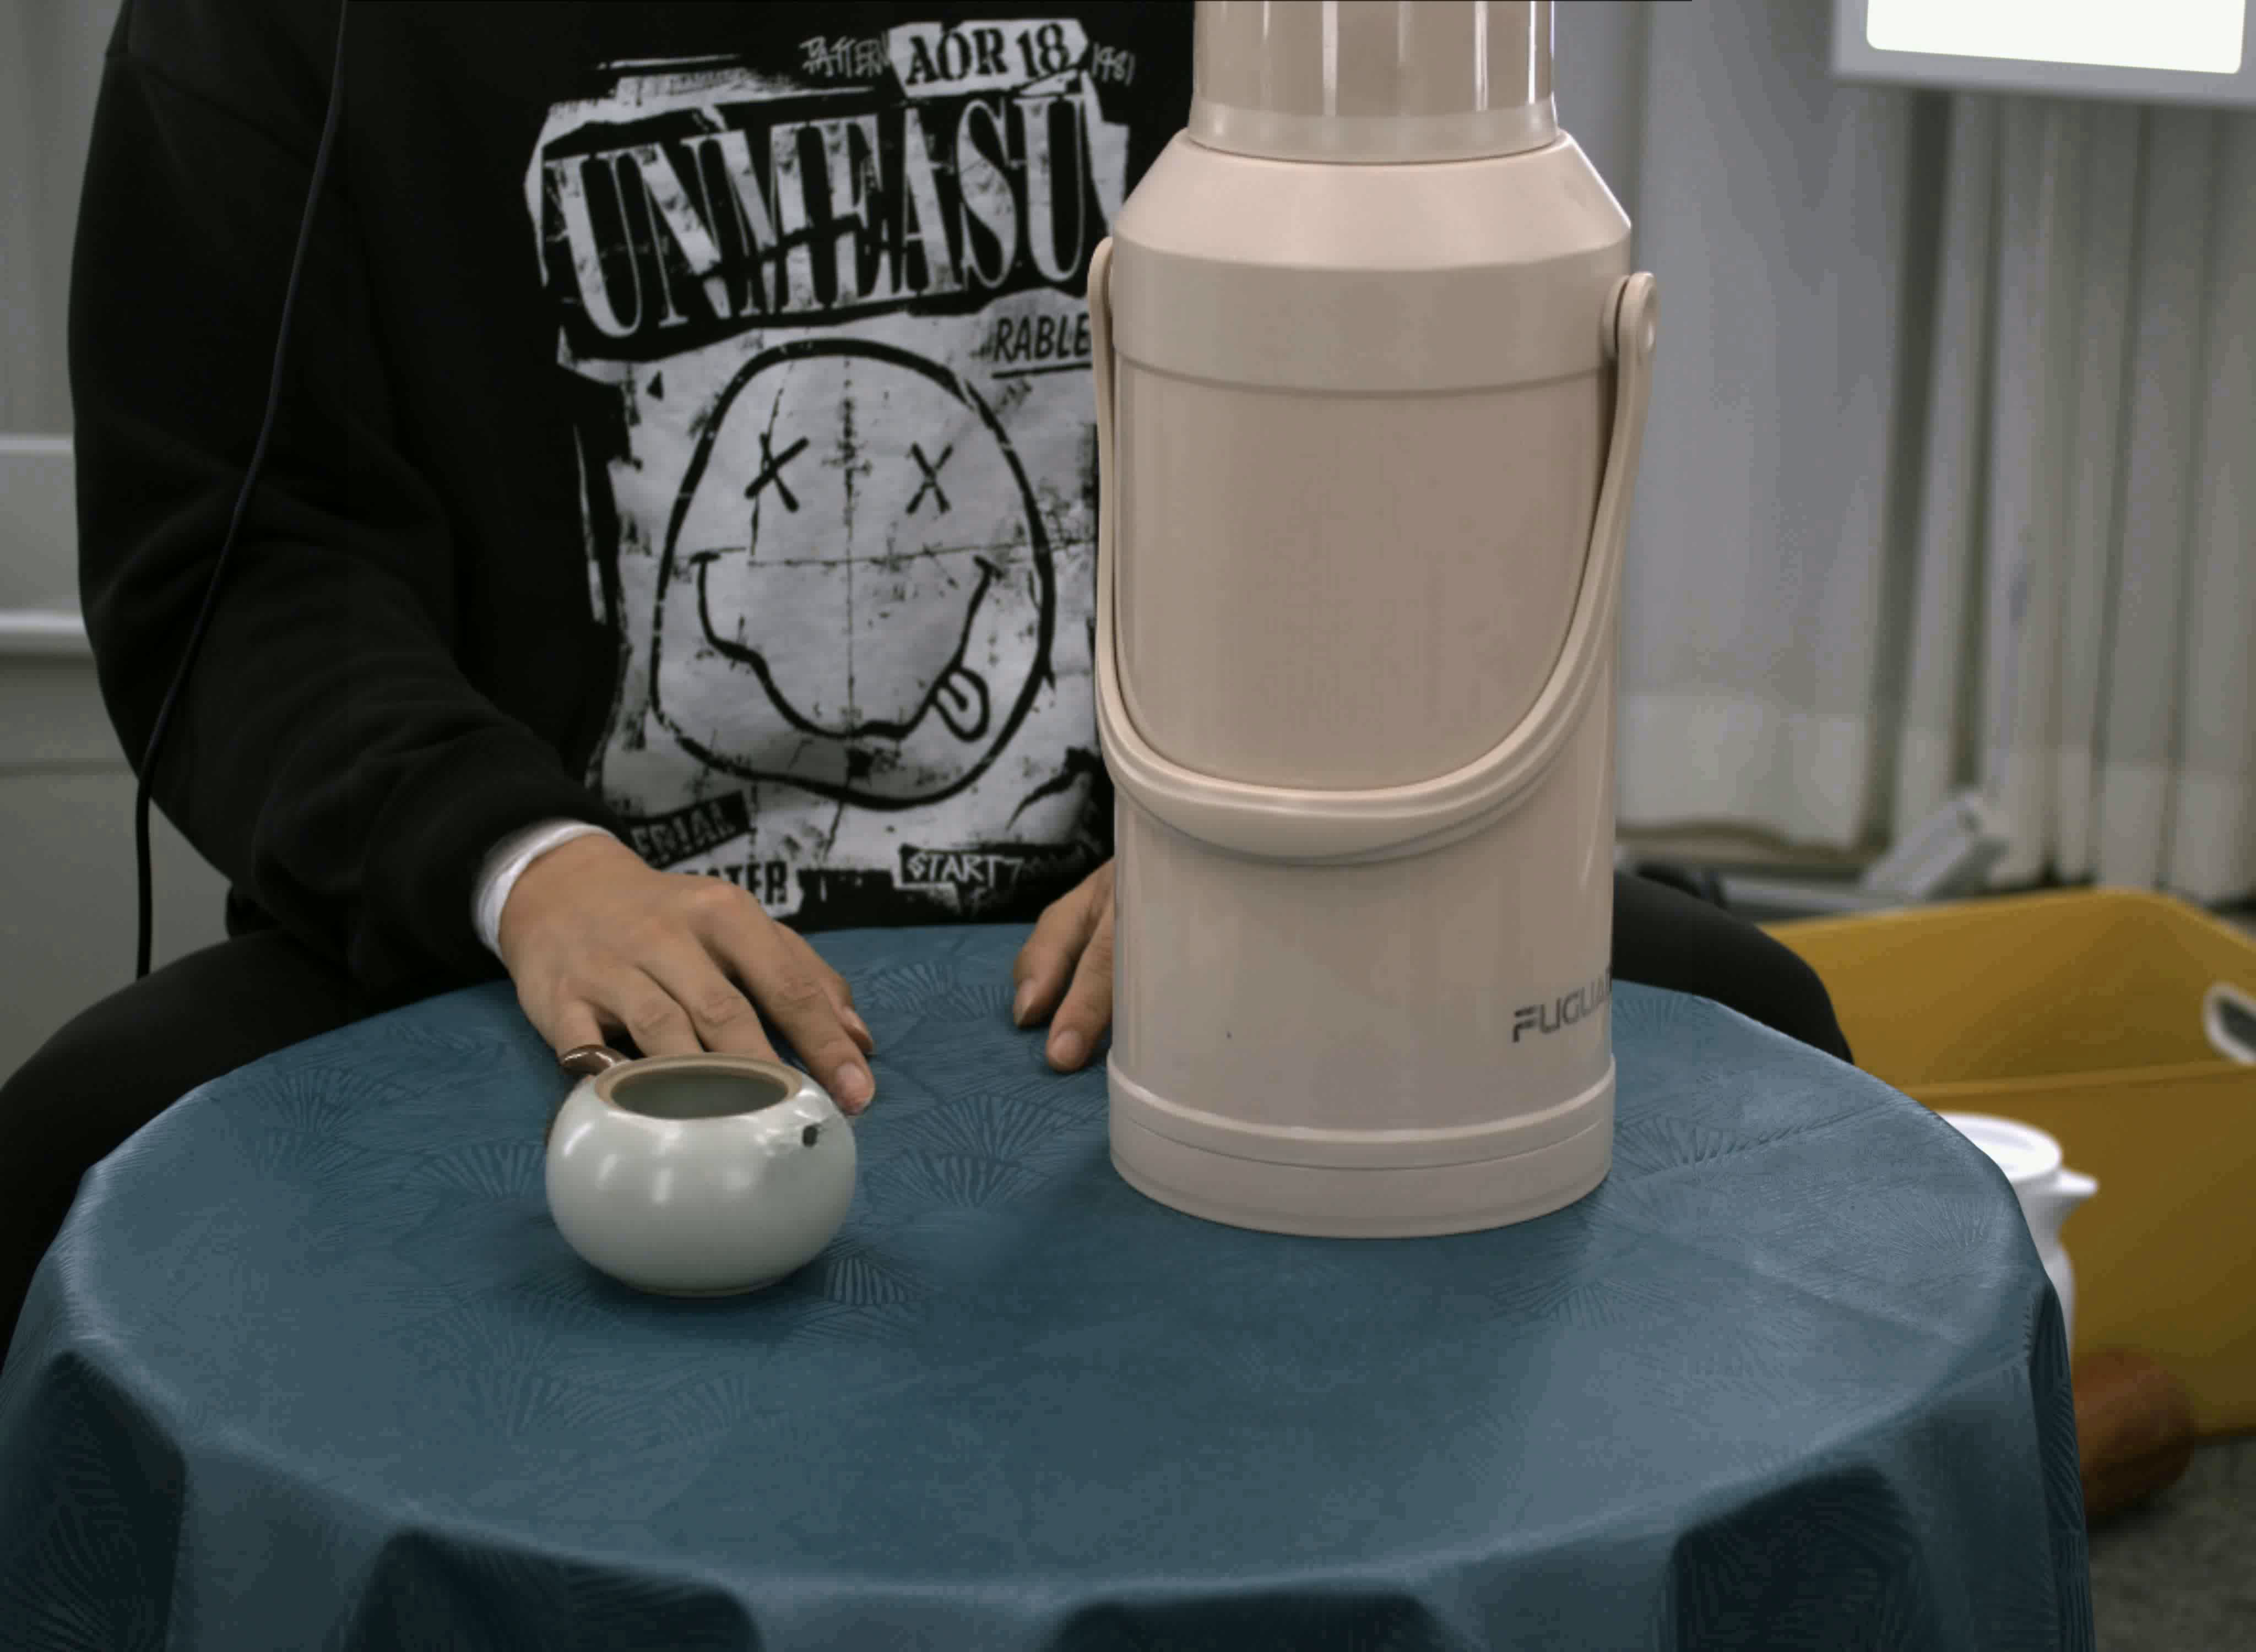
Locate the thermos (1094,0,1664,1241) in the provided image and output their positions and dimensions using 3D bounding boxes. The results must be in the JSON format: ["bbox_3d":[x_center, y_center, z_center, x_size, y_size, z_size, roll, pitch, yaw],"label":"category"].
[{"bbox_3d":[0.081,-0.091,1.614,0.173,0.410,0.207,5,17,20],"label":"thermos"}]

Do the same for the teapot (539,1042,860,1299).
[{"bbox_3d":[-0.132,0.100,1.553,0.126,0.060,0.092,17,25,41],"label":"teapot"}]
